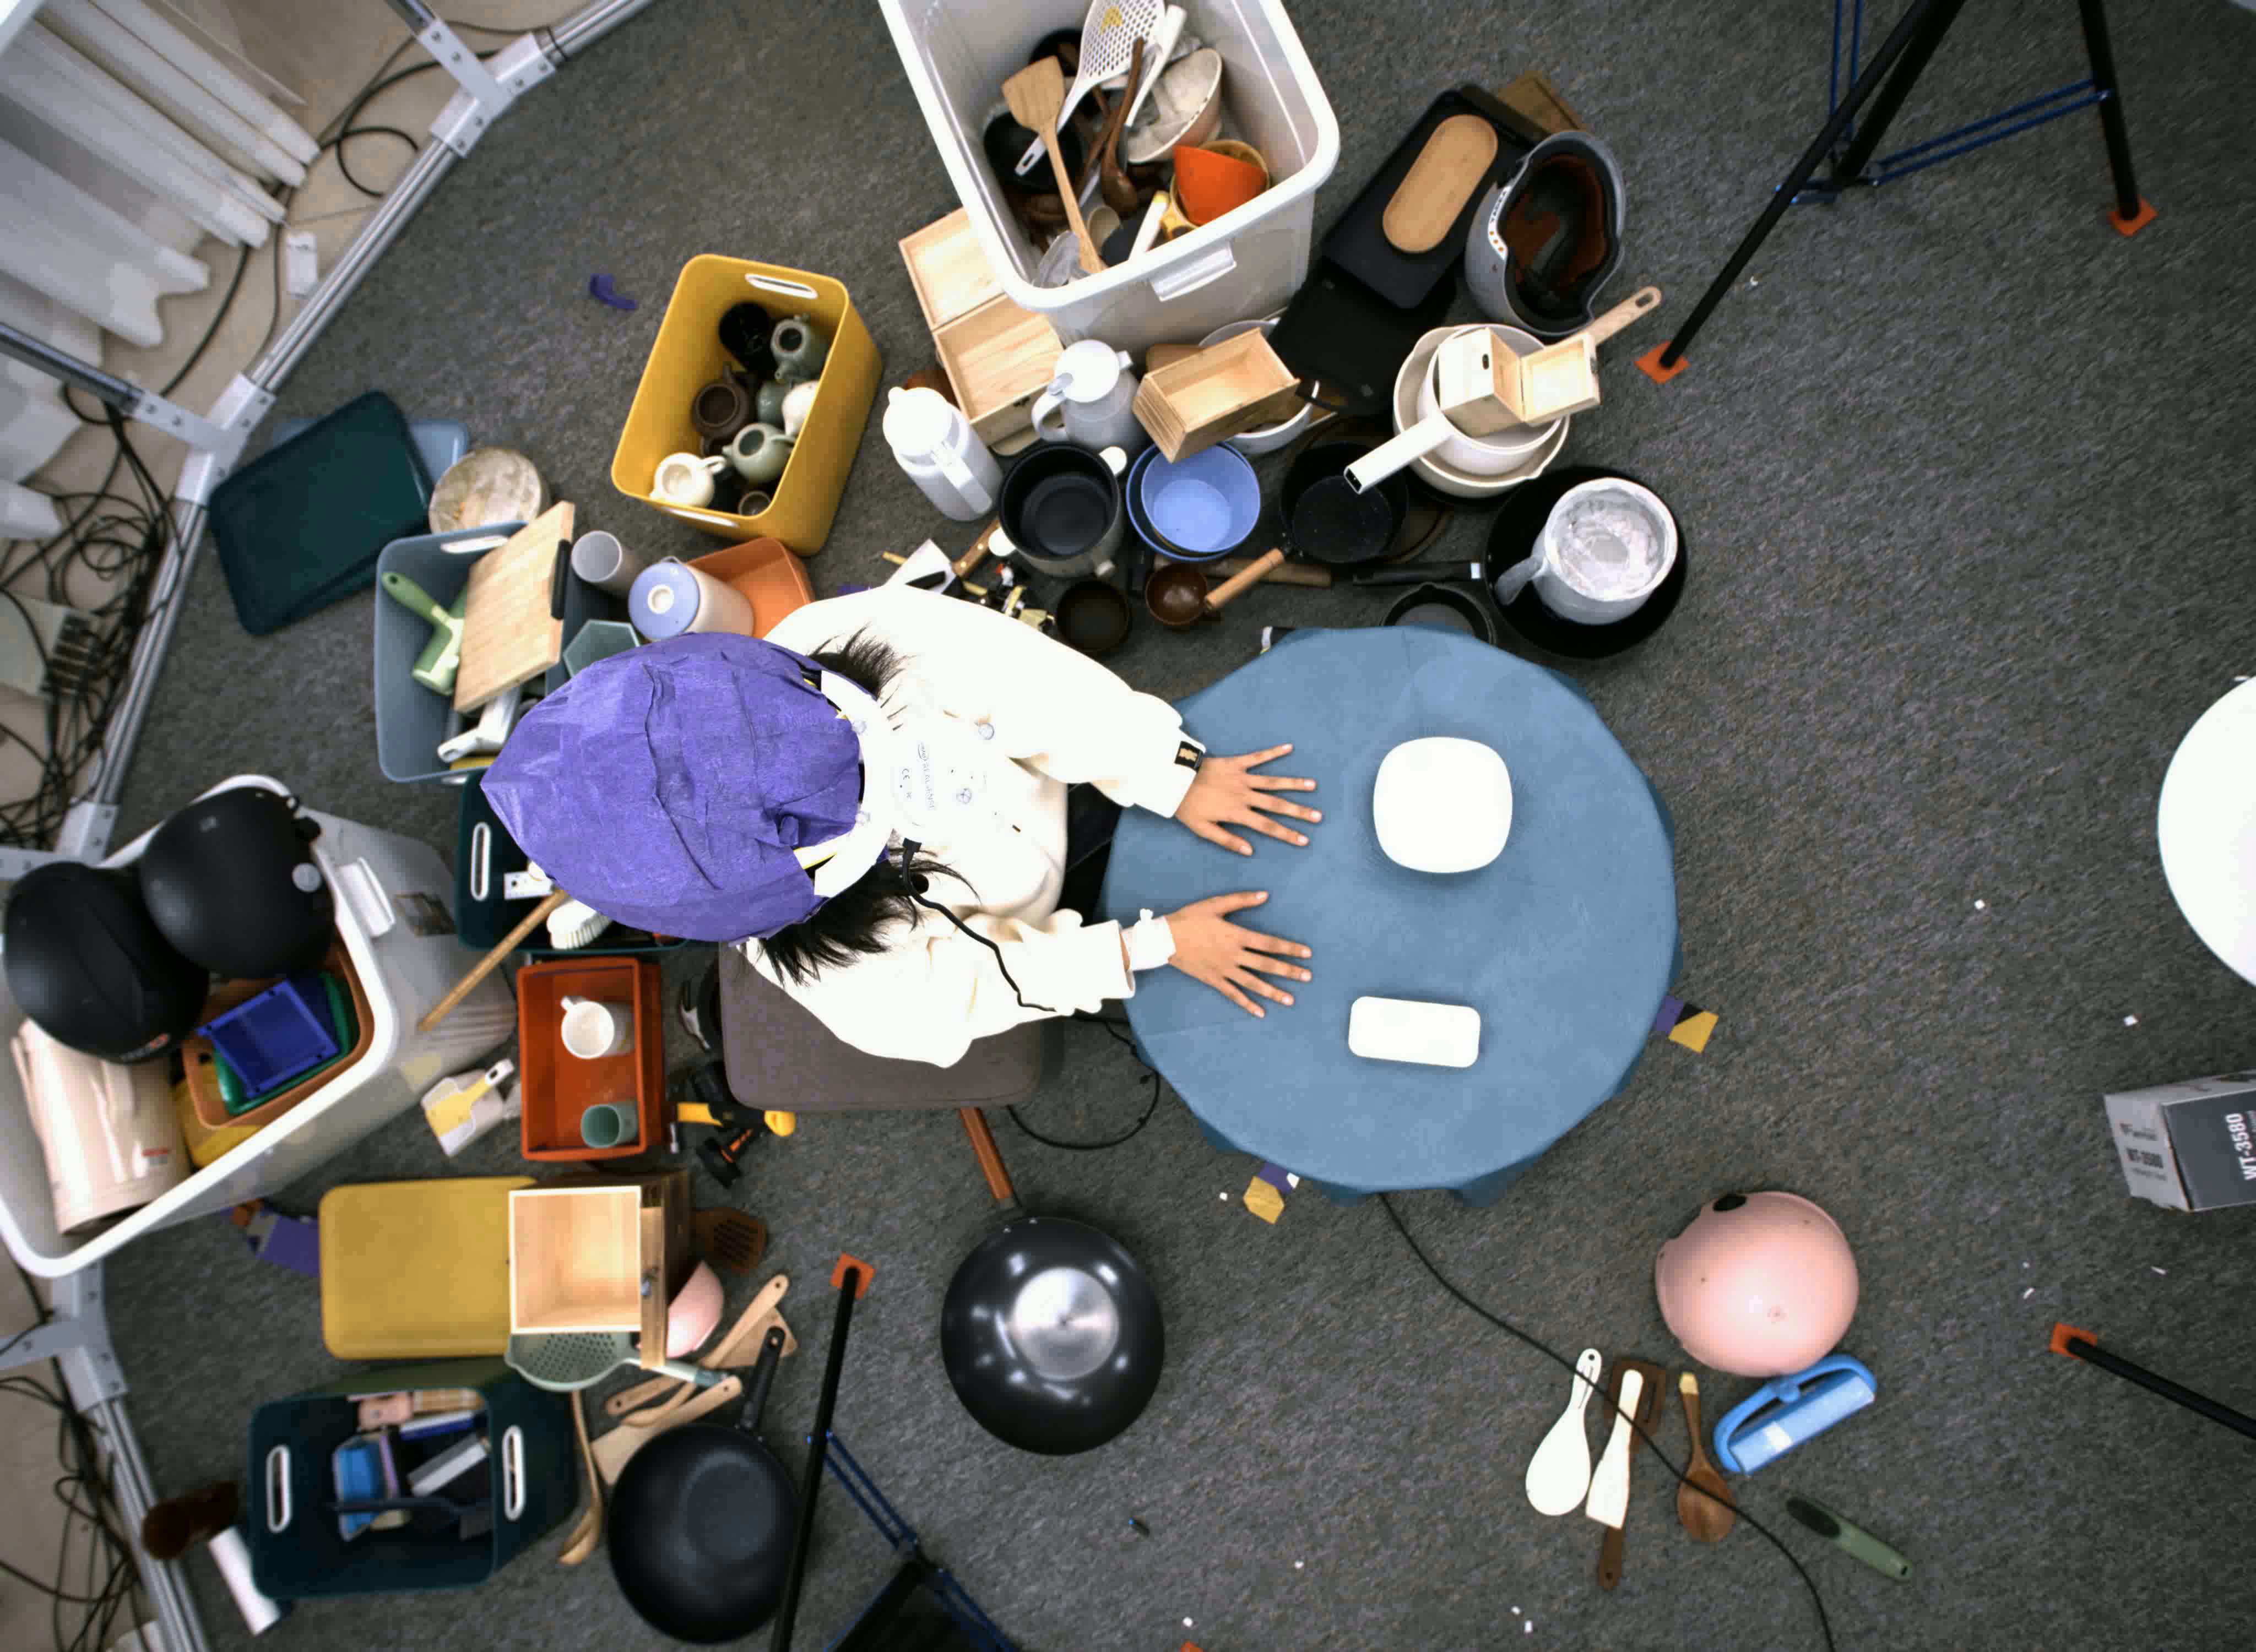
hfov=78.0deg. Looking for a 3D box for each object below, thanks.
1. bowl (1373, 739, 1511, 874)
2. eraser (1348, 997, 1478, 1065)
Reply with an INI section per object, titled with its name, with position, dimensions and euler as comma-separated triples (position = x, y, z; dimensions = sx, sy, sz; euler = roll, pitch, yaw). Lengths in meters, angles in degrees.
[bowl]
position = 0.324, -0.018, 1.427
dimensions = 0.152, 0.059, 0.150
euler = -1, 84, 11
[eraser]
position = 0.295, 0.209, 1.432
dimensions = 0.131, 0.034, 0.063
euler = 5, 87, 10
